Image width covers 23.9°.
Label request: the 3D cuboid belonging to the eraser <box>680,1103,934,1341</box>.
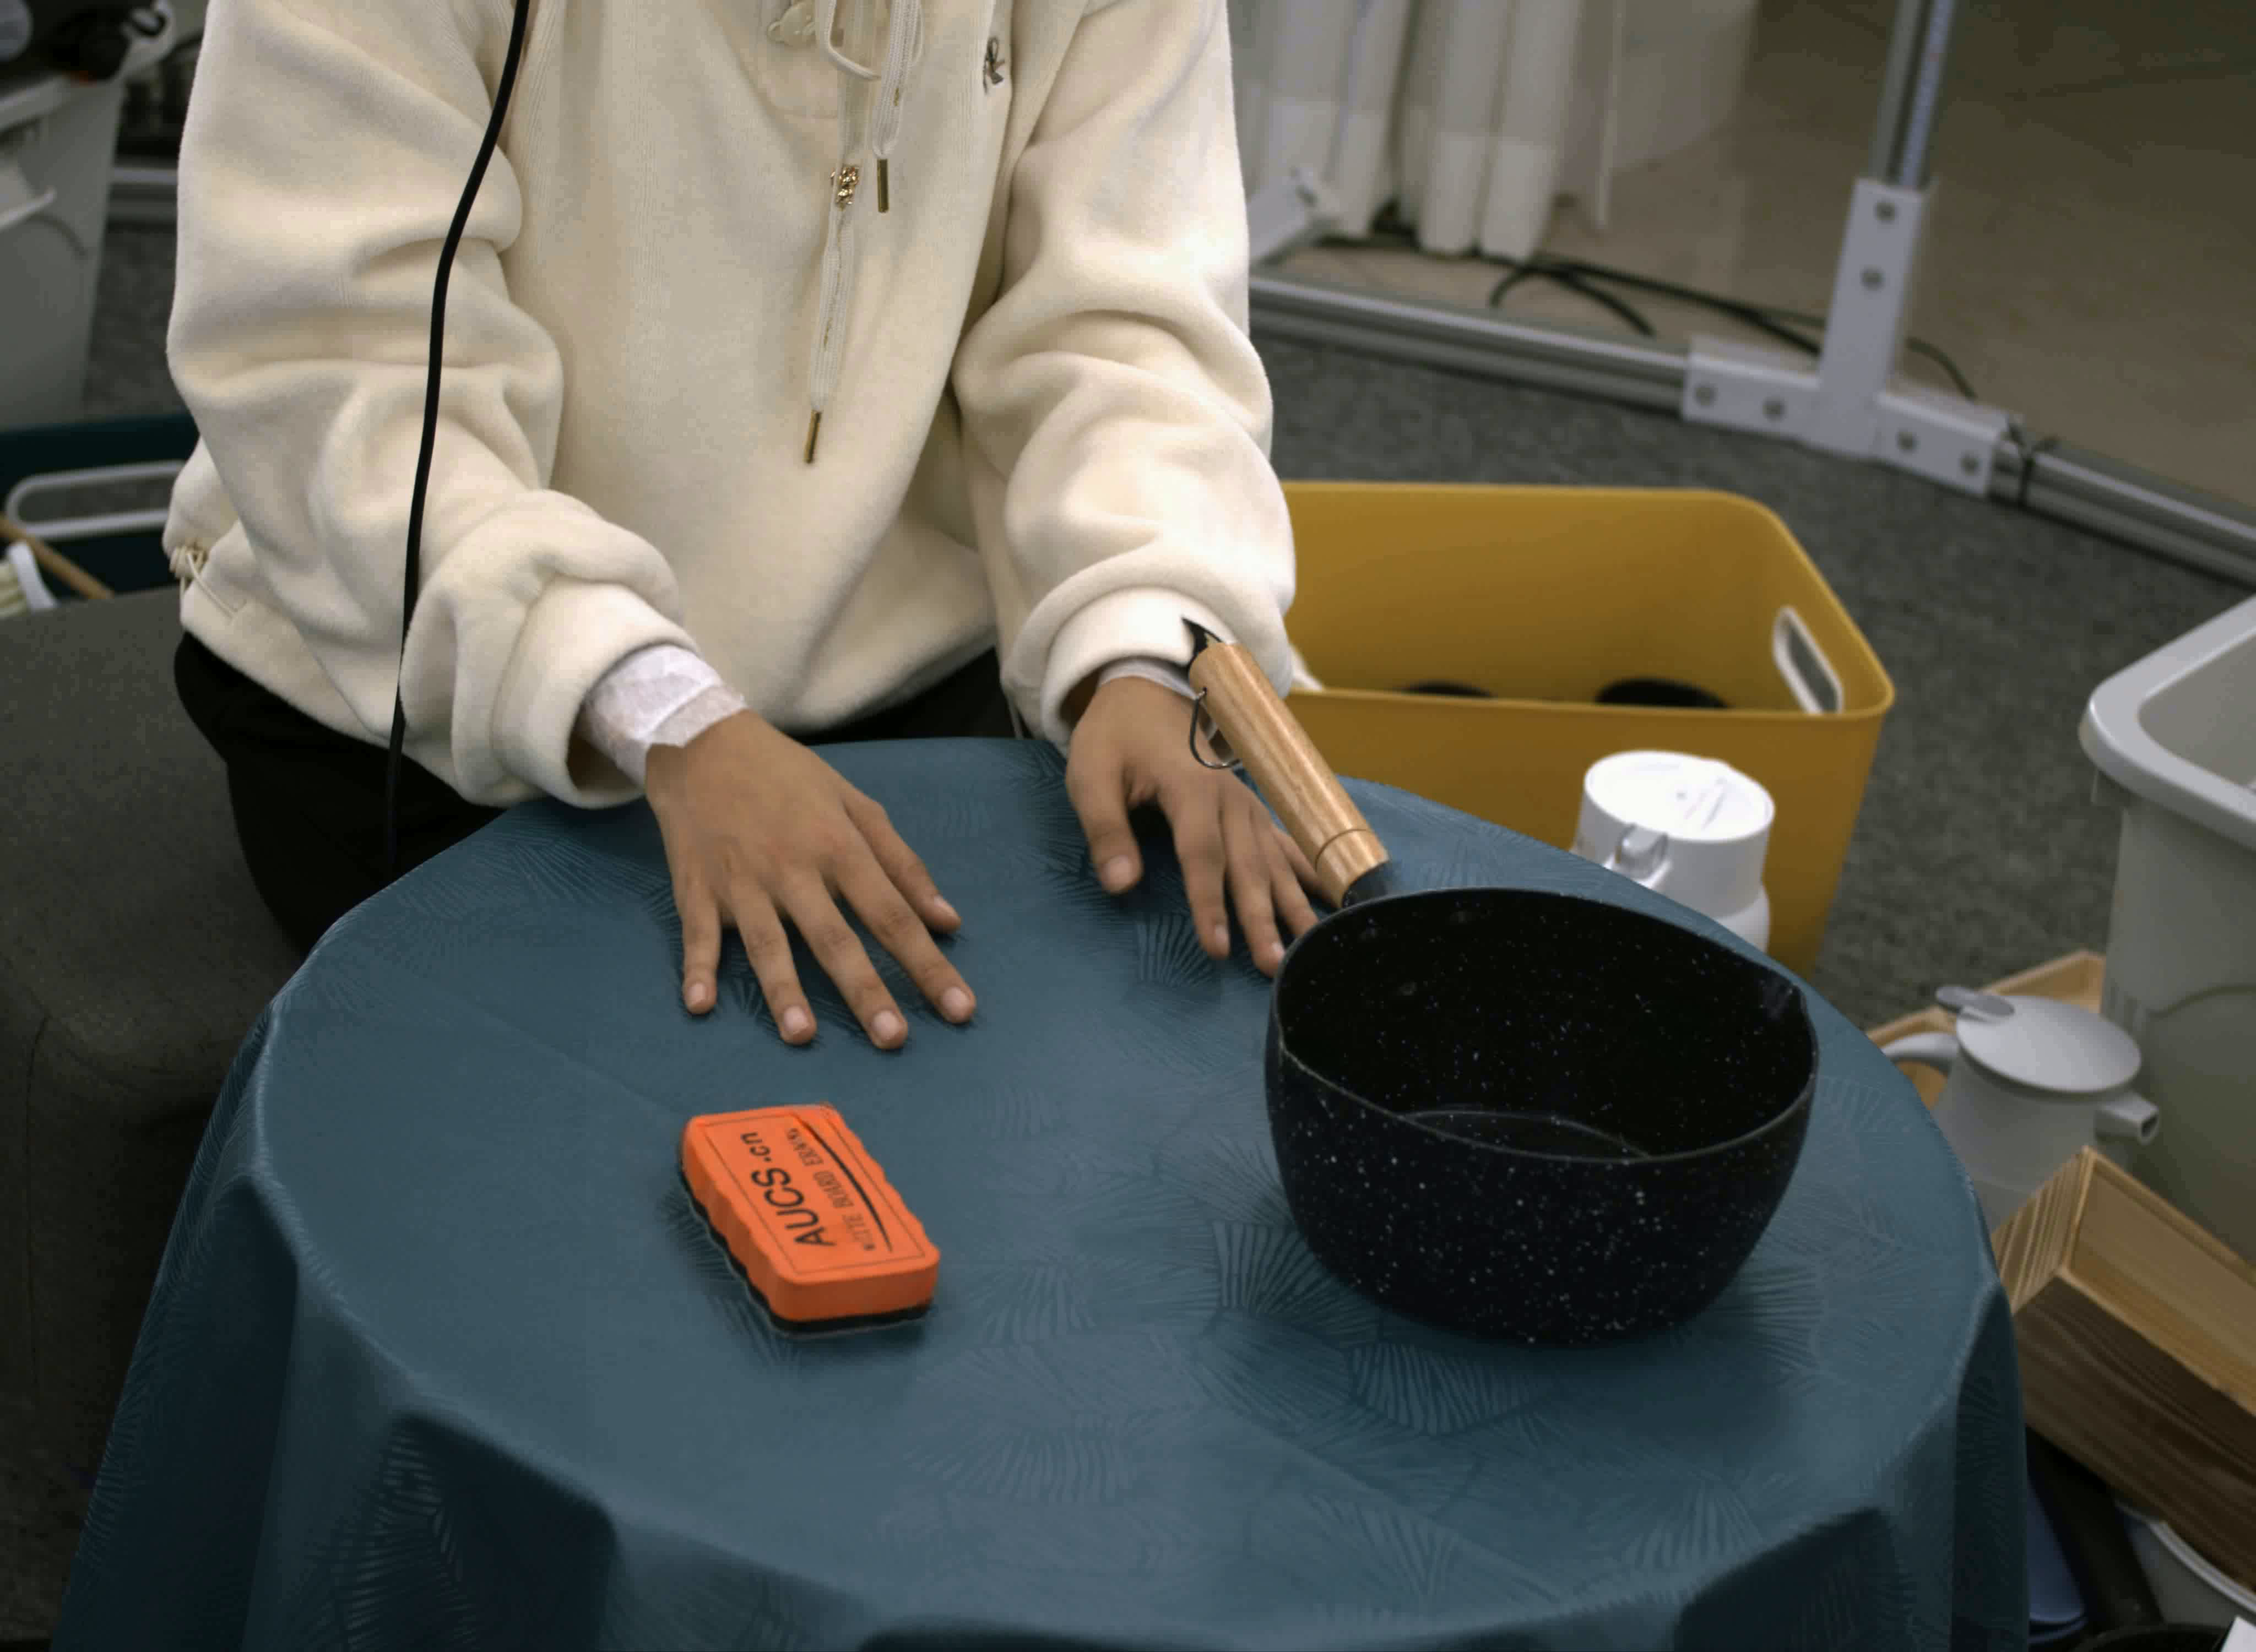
[{"bbox_3d":[-0.106,0.129,1.743,0.058,0.023,0.109,-7,29,-22],"label":"eraser"}]

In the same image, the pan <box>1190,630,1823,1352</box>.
[{"bbox_3d":[0.100,0.054,1.842,0.206,0.108,0.346,-9,32,-26],"label":"pan"}]
